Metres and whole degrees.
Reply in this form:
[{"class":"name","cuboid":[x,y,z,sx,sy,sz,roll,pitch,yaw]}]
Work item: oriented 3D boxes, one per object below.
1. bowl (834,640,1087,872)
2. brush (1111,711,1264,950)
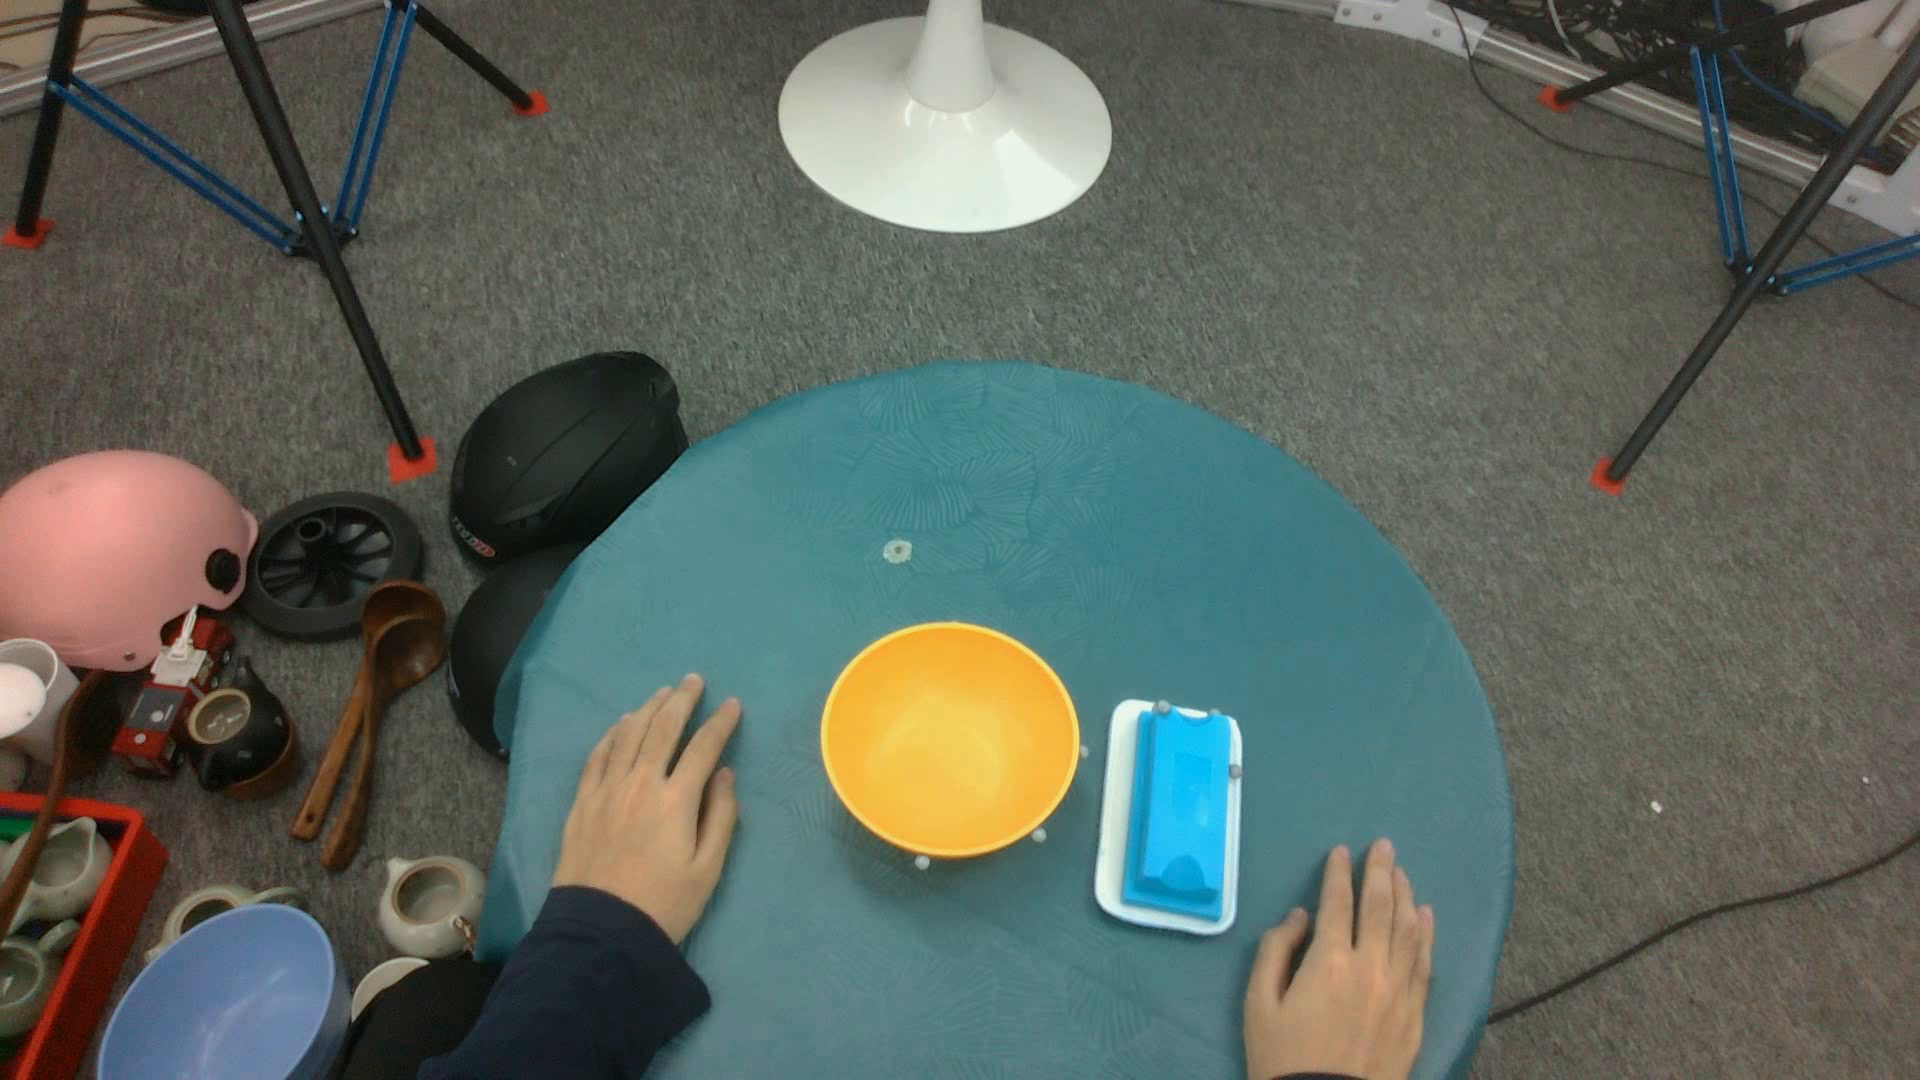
[{"class":"bowl","cuboid":[-0.001,0.134,0.798,0.145,0.060,0.146,2,52,-3]},{"class":"brush","cuboid":[0.134,0.158,0.788,0.084,0.055,0.144,8,52,6]}]
